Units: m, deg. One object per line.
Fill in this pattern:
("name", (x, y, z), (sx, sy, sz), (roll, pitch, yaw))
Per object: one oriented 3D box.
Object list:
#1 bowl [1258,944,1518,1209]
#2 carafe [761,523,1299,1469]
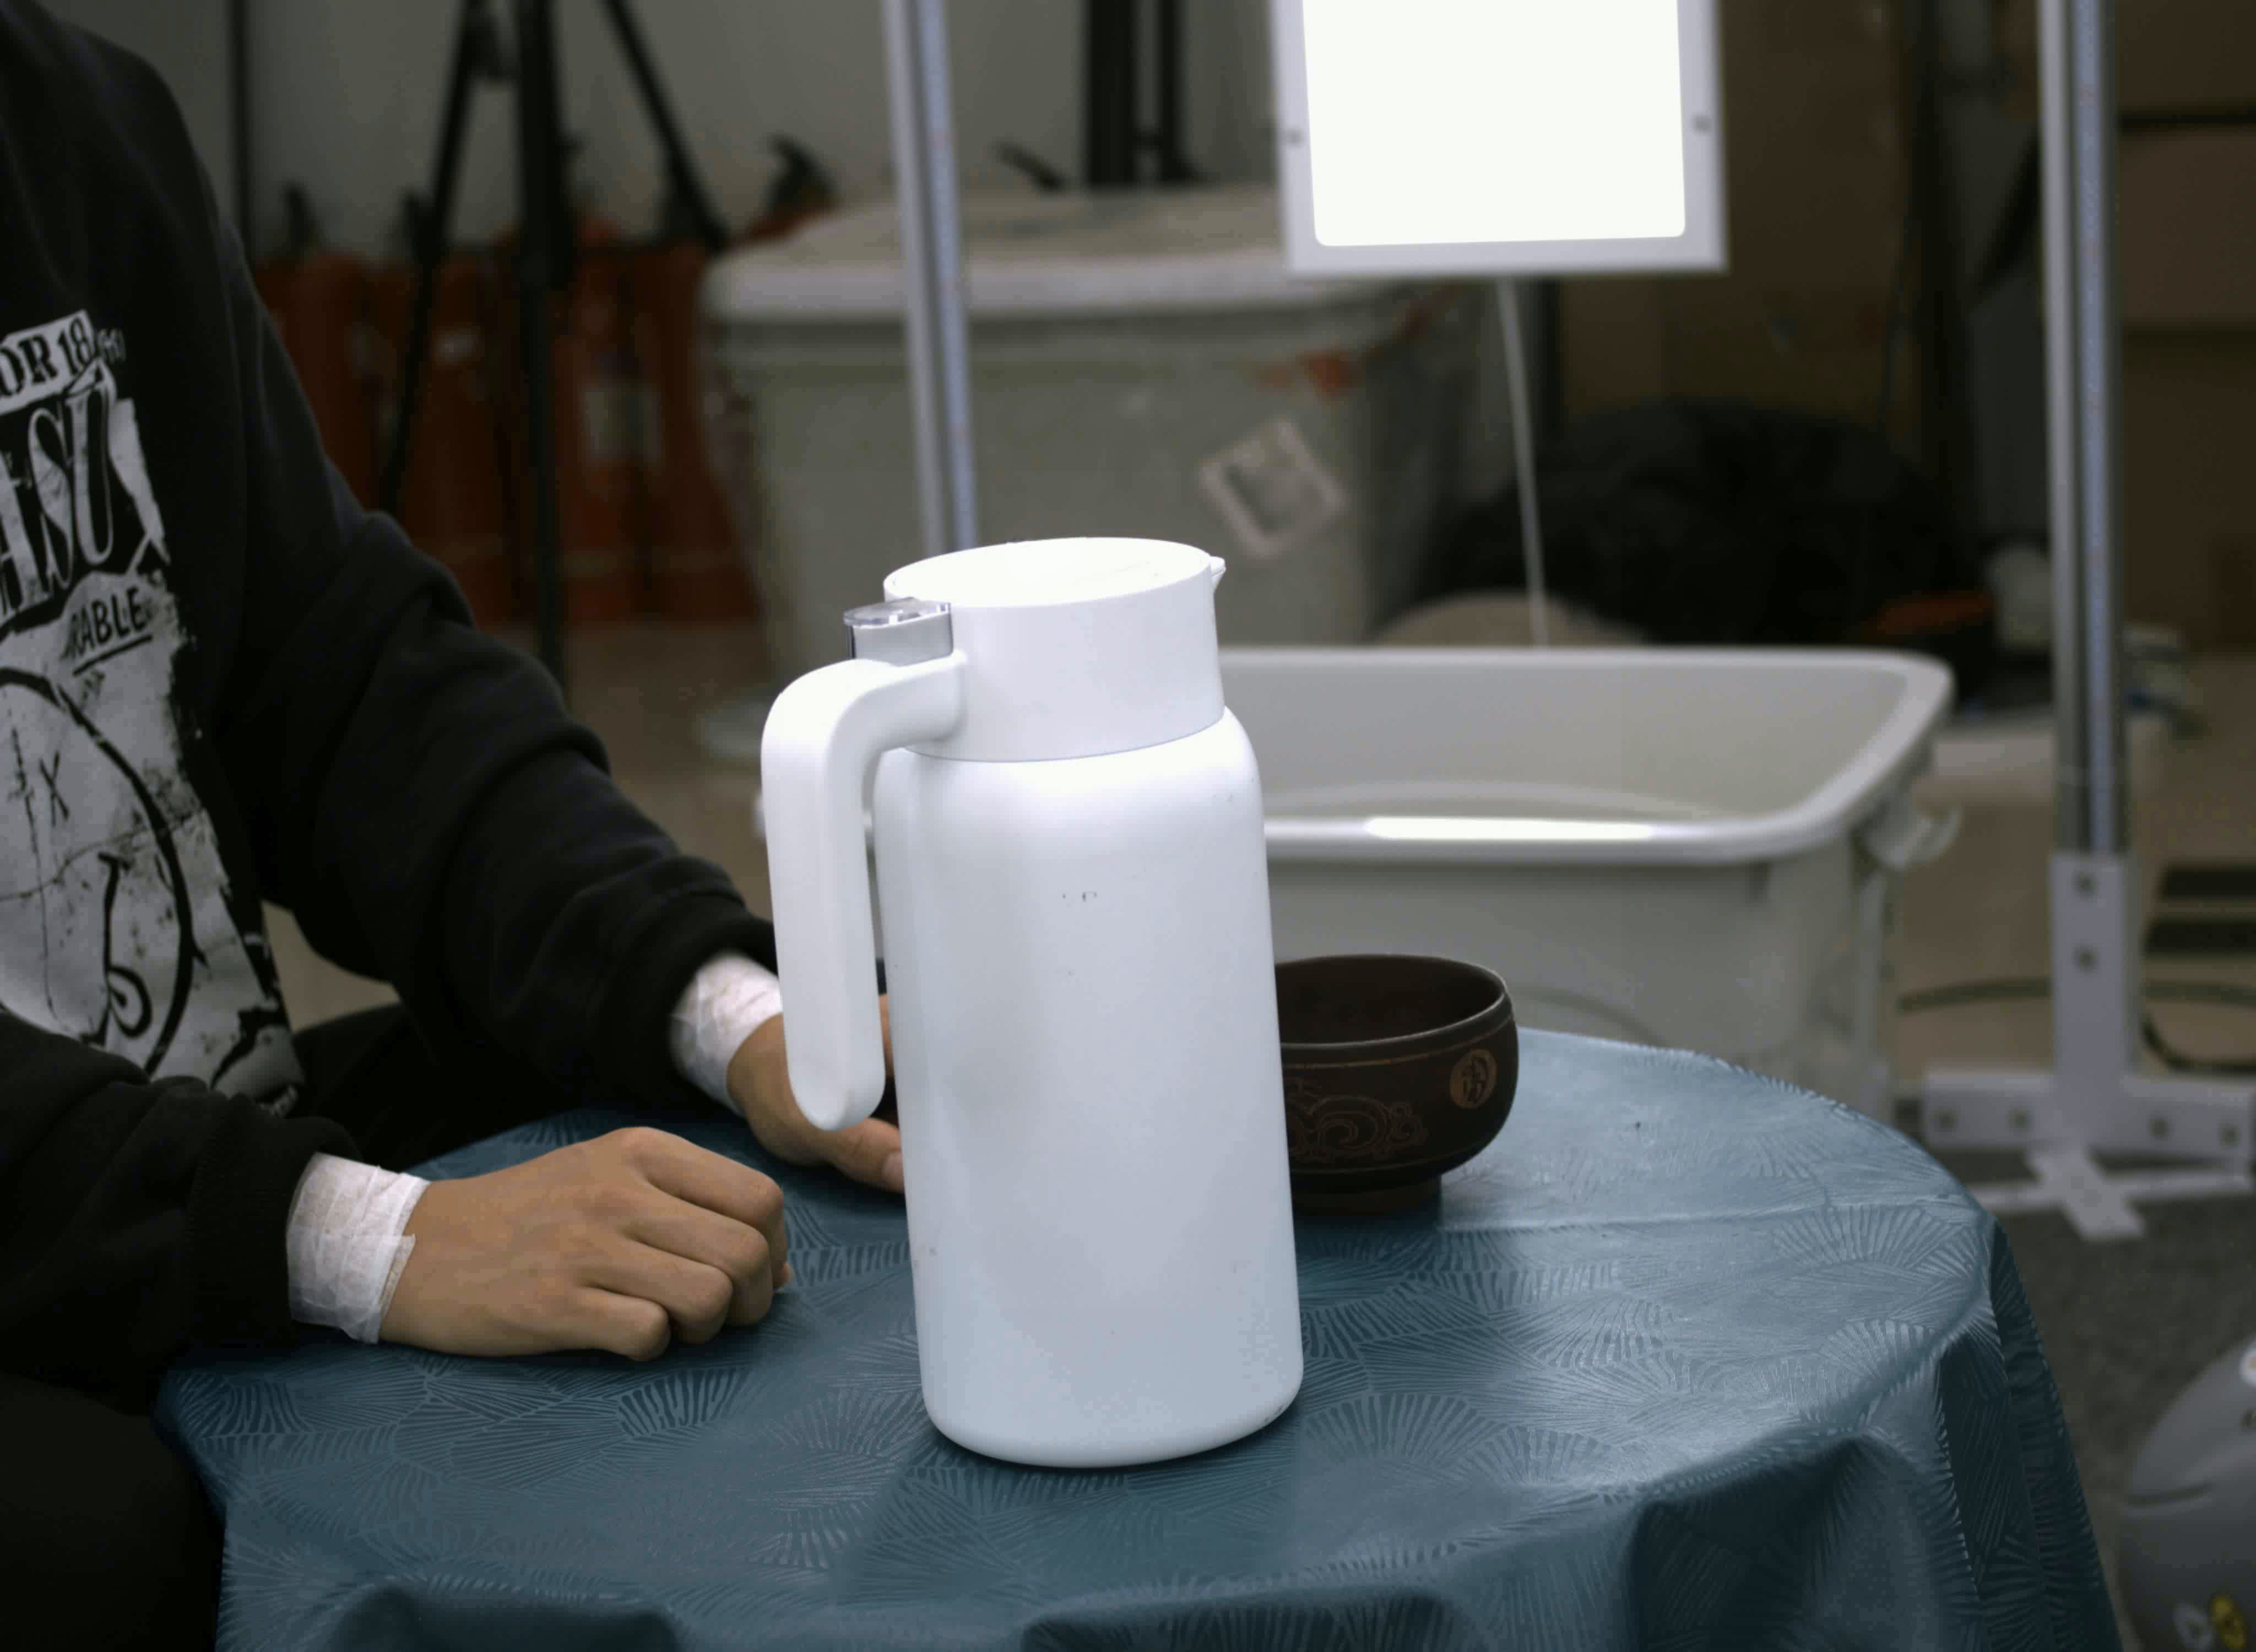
("bowl", (0.076, 0.089, 1.870), (0.118, 0.070, 0.118), (-6, 14, 0))
("carafe", (-0.026, 0.055, 1.641), (0.168, 0.270, 0.126), (-17, 20, -39))
